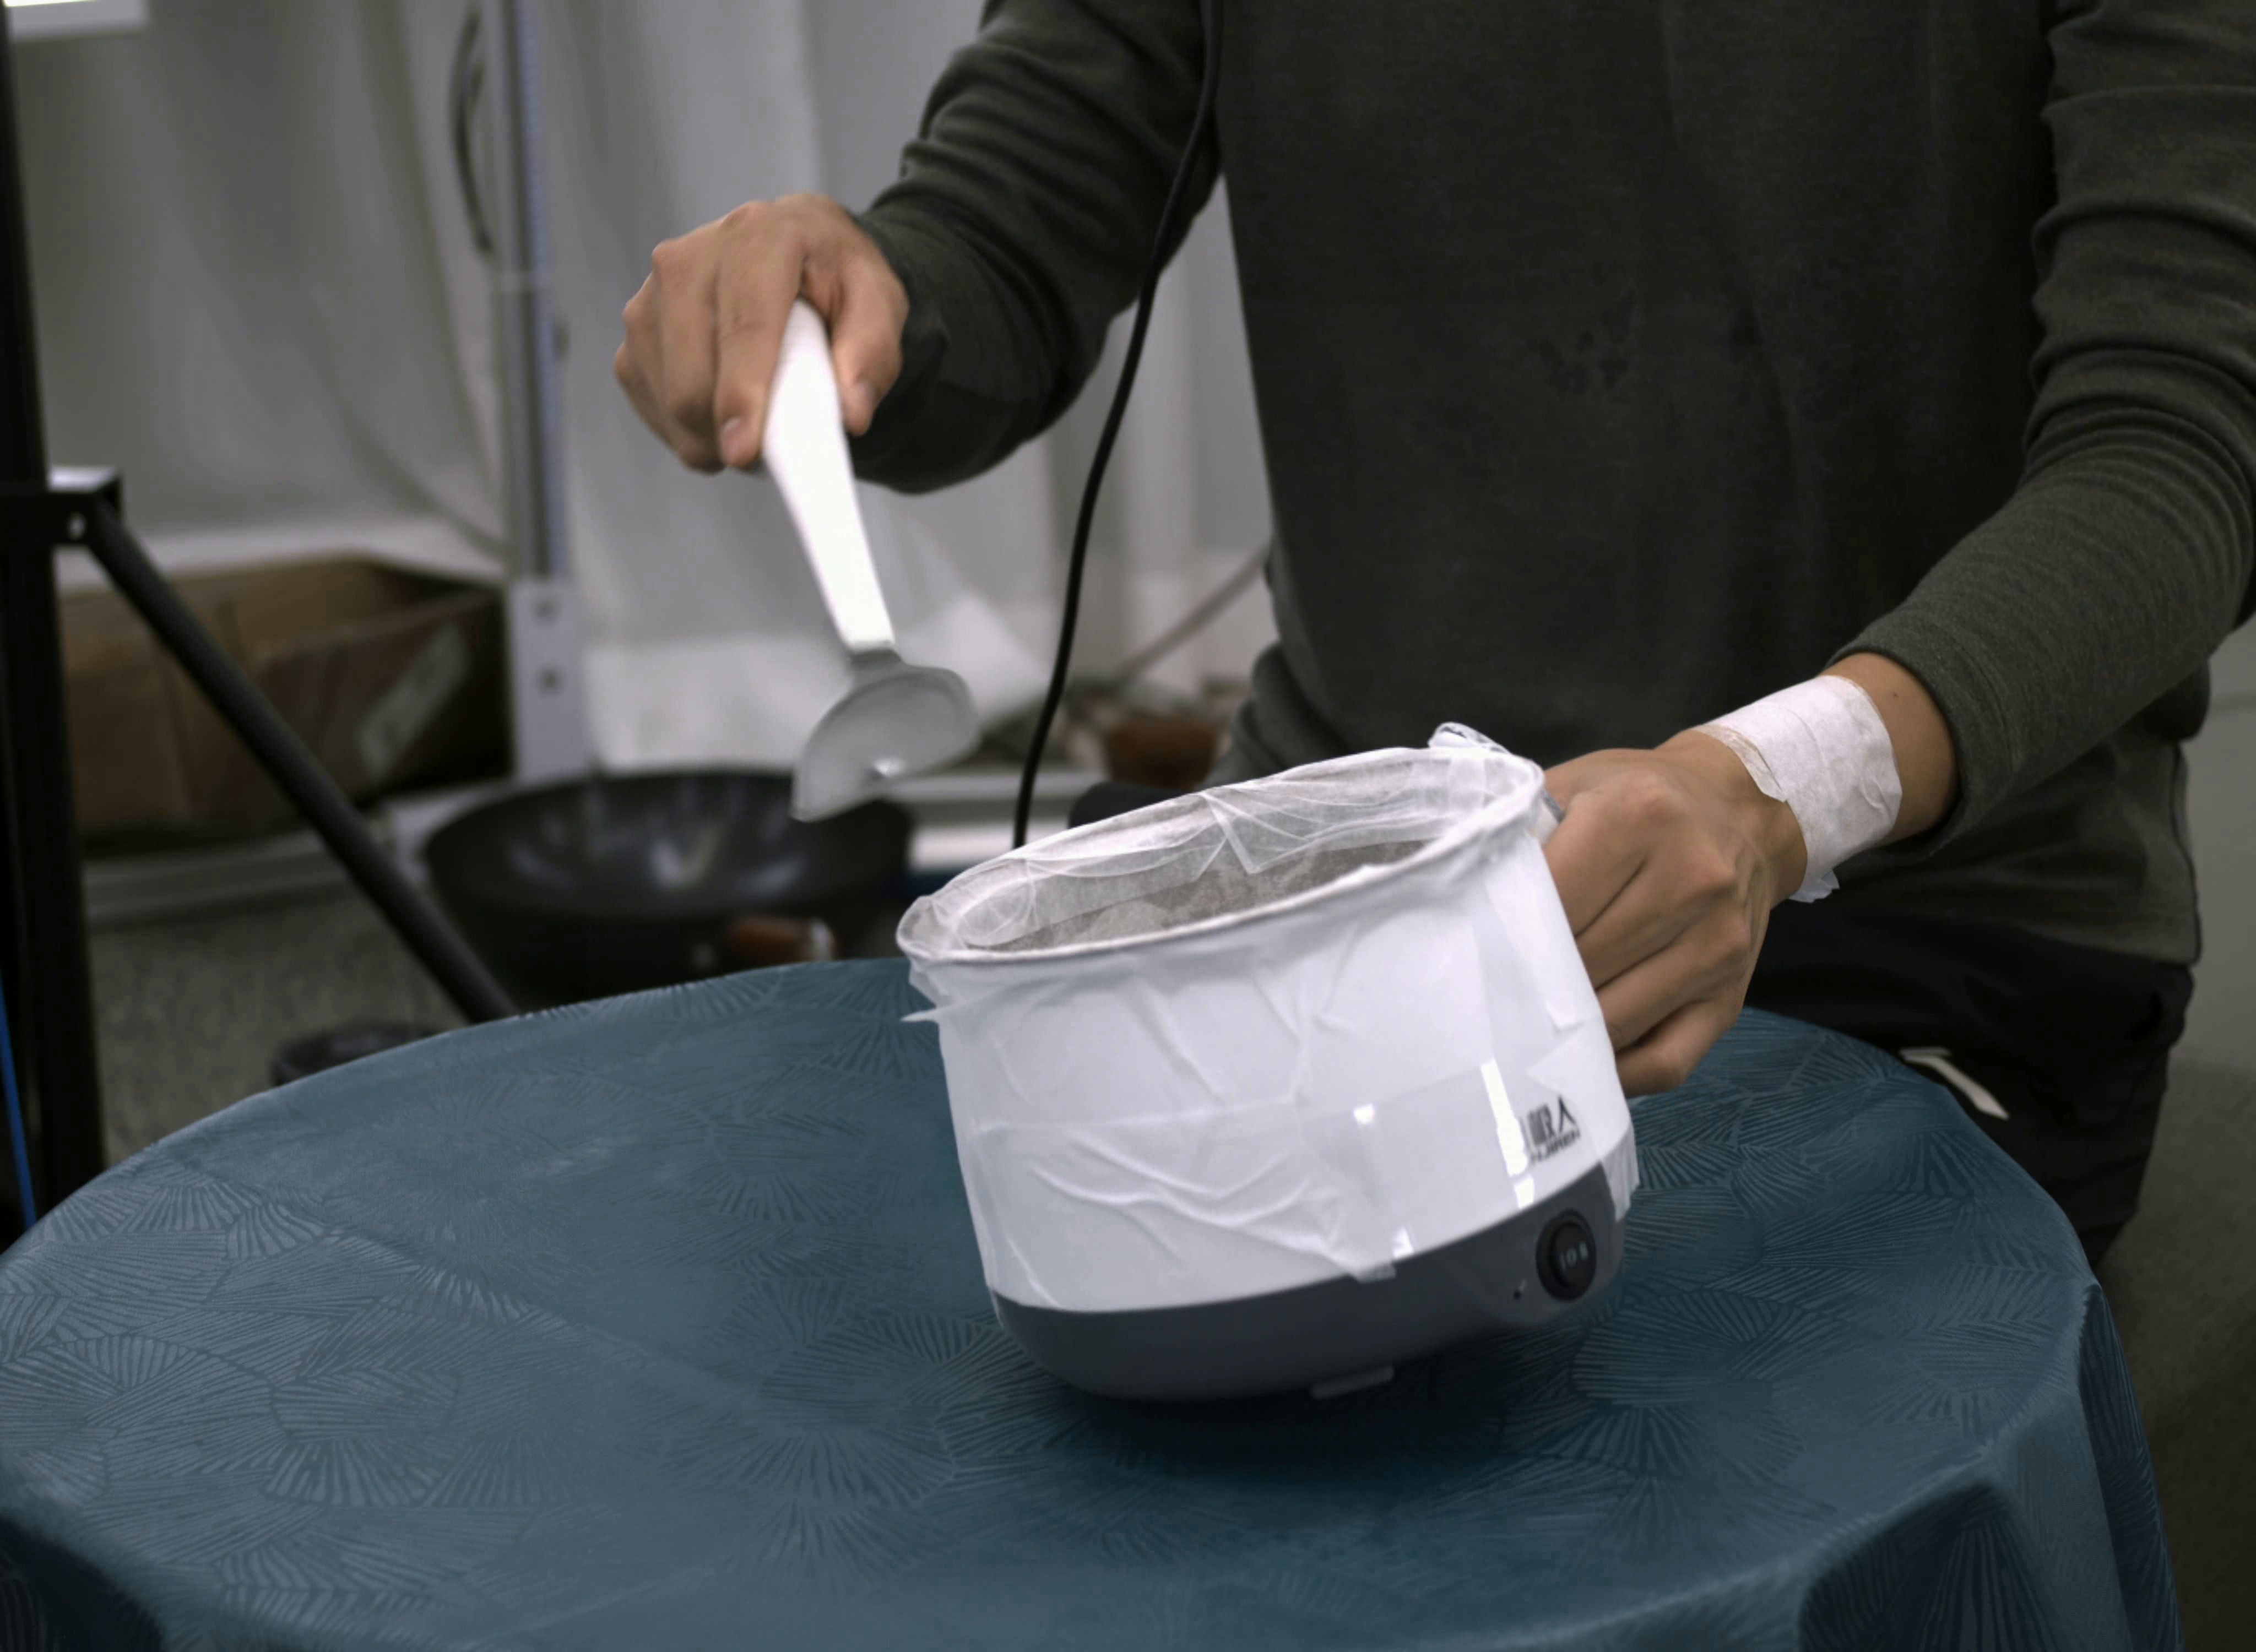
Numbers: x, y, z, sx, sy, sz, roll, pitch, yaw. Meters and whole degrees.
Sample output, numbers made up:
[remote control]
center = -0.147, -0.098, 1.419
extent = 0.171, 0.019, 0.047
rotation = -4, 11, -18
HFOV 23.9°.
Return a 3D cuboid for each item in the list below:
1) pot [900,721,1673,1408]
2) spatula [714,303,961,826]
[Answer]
[pot]
center = 0.058, 0.059, 1.420
extent = 0.182, 0.136, 0.229
rotation = -2, 16, 45
[spatula]
center = -0.086, -0.074, 1.496
extent = 0.058, 0.032, 0.291
rotation = -24, 30, 3
